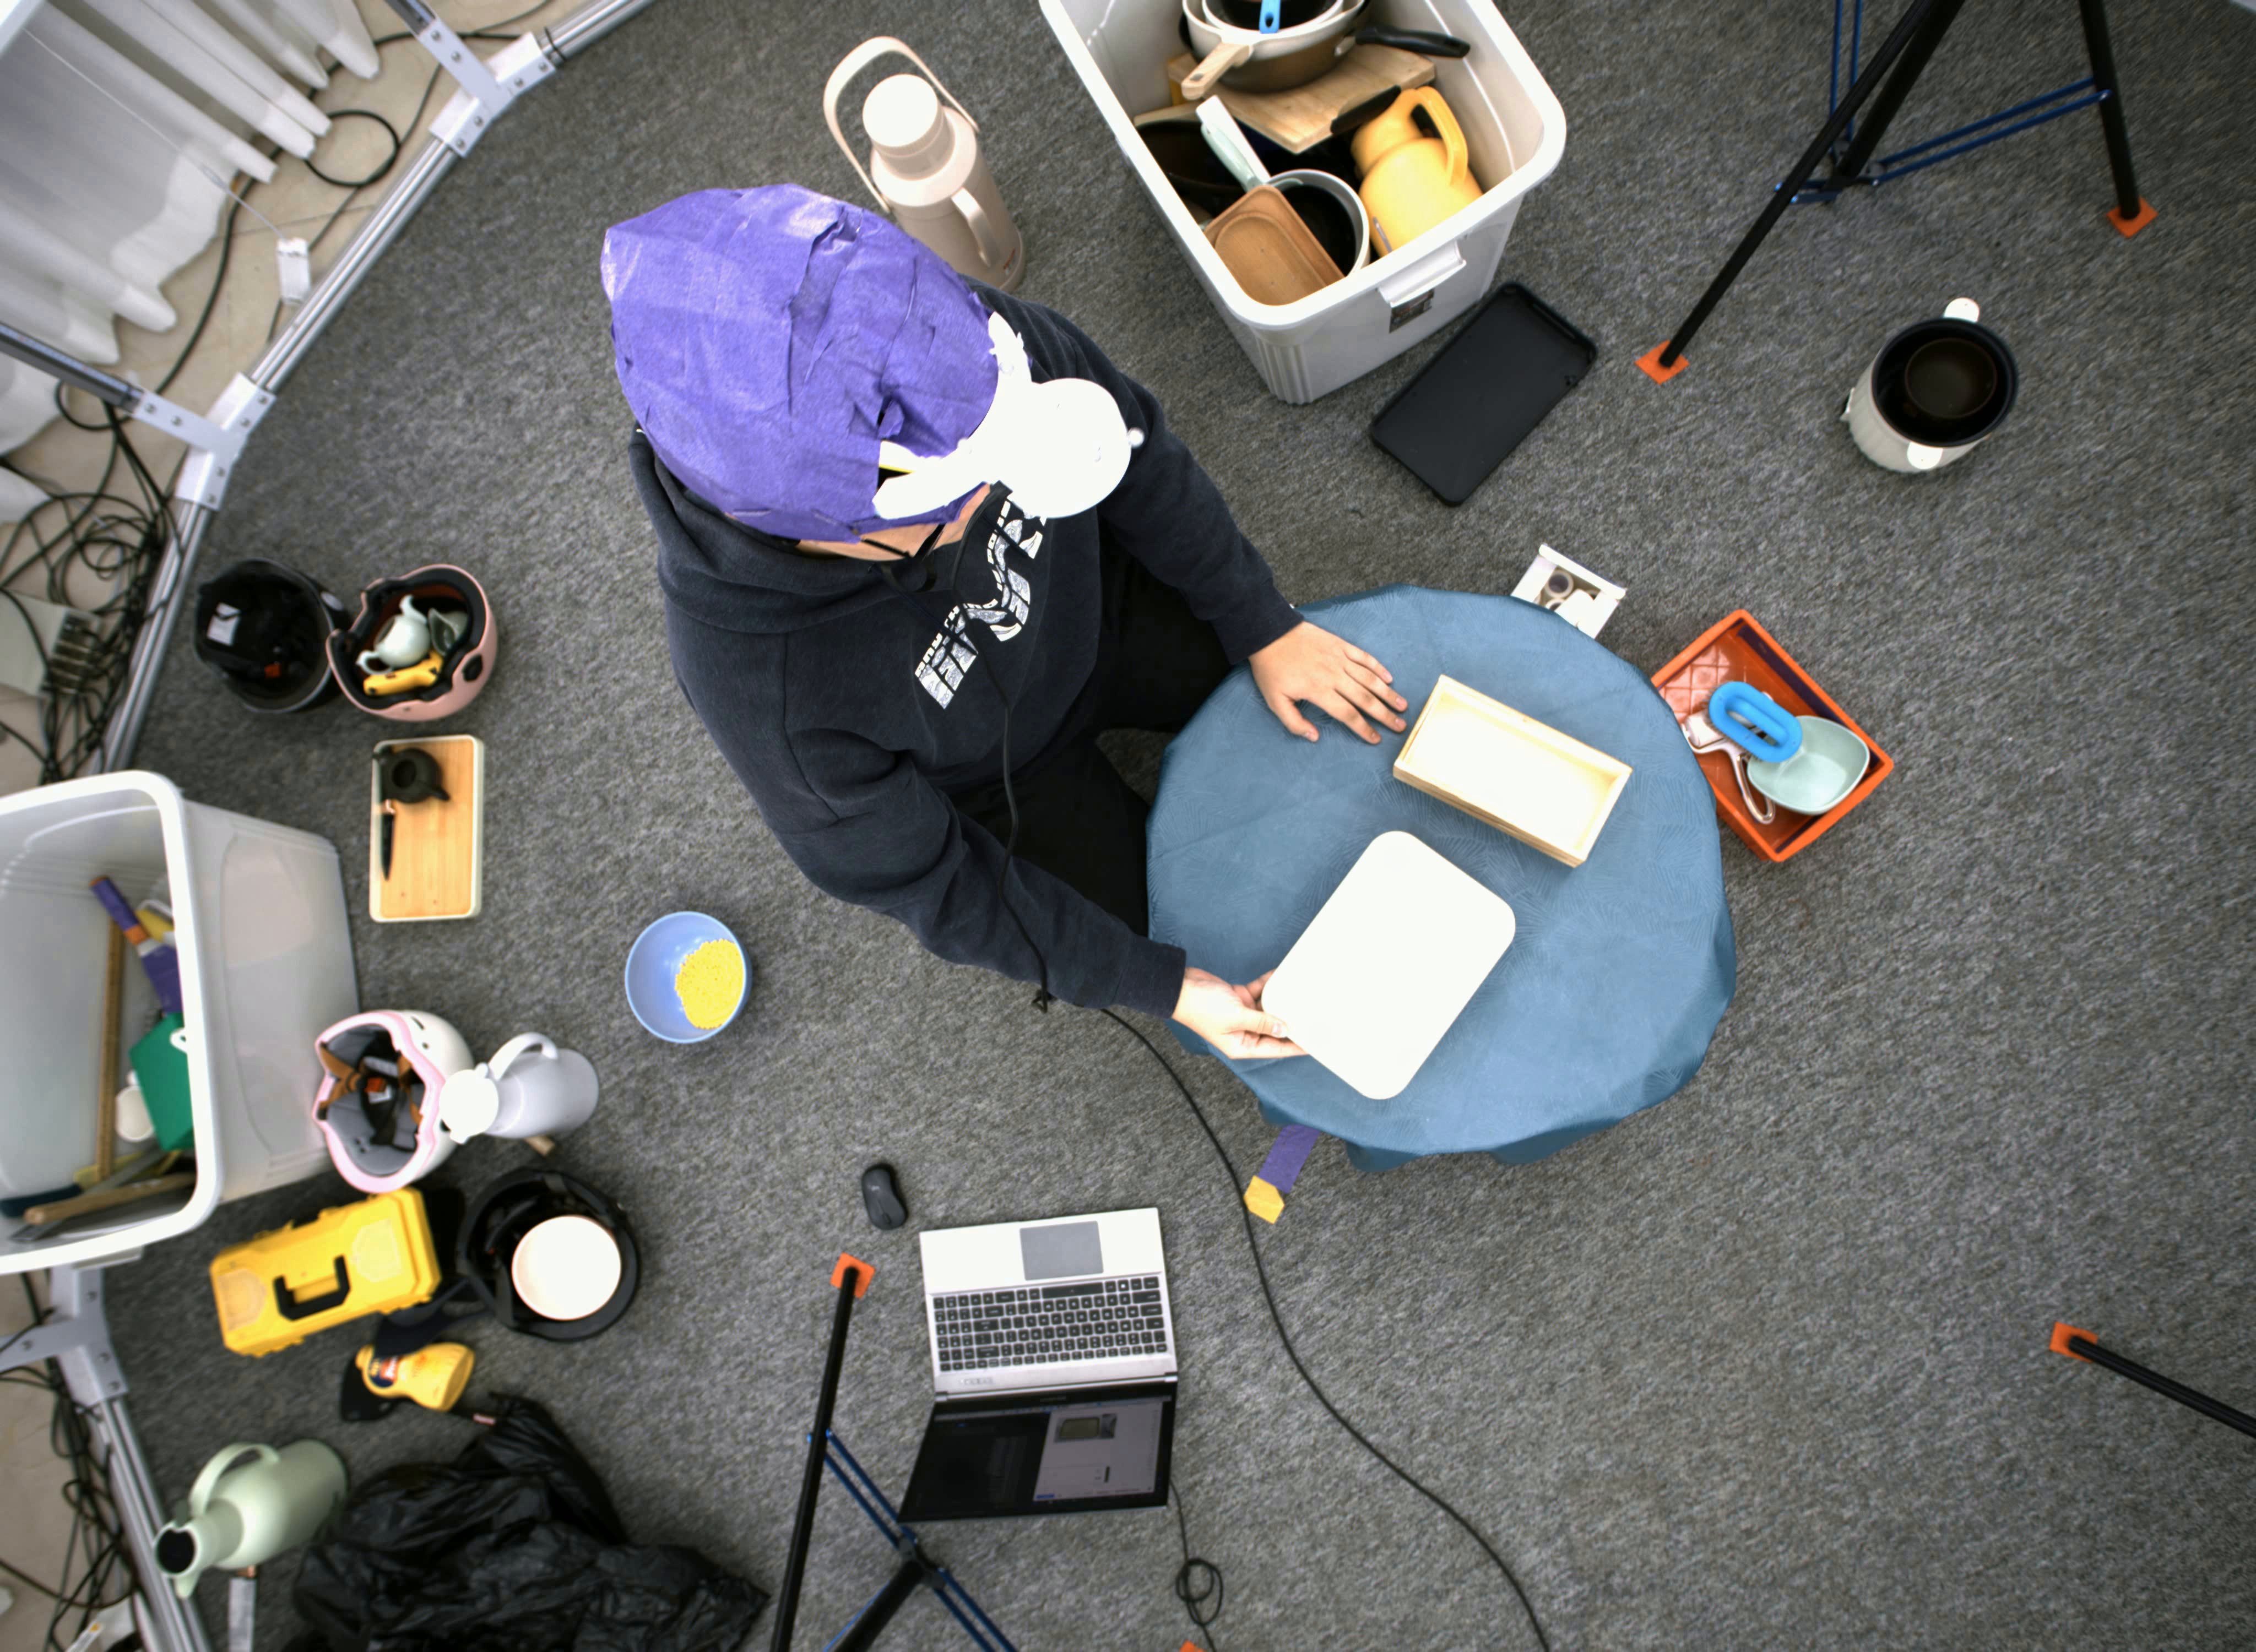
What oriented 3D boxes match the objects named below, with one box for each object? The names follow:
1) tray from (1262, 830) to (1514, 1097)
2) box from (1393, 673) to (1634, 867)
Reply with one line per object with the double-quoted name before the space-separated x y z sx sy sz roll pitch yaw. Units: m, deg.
"tray" 0.260 0.135 1.385 0.171 0.017 0.239 37 88 9
"box" 0.390 -0.059 1.405 0.211 0.080 0.107 28 90 11
